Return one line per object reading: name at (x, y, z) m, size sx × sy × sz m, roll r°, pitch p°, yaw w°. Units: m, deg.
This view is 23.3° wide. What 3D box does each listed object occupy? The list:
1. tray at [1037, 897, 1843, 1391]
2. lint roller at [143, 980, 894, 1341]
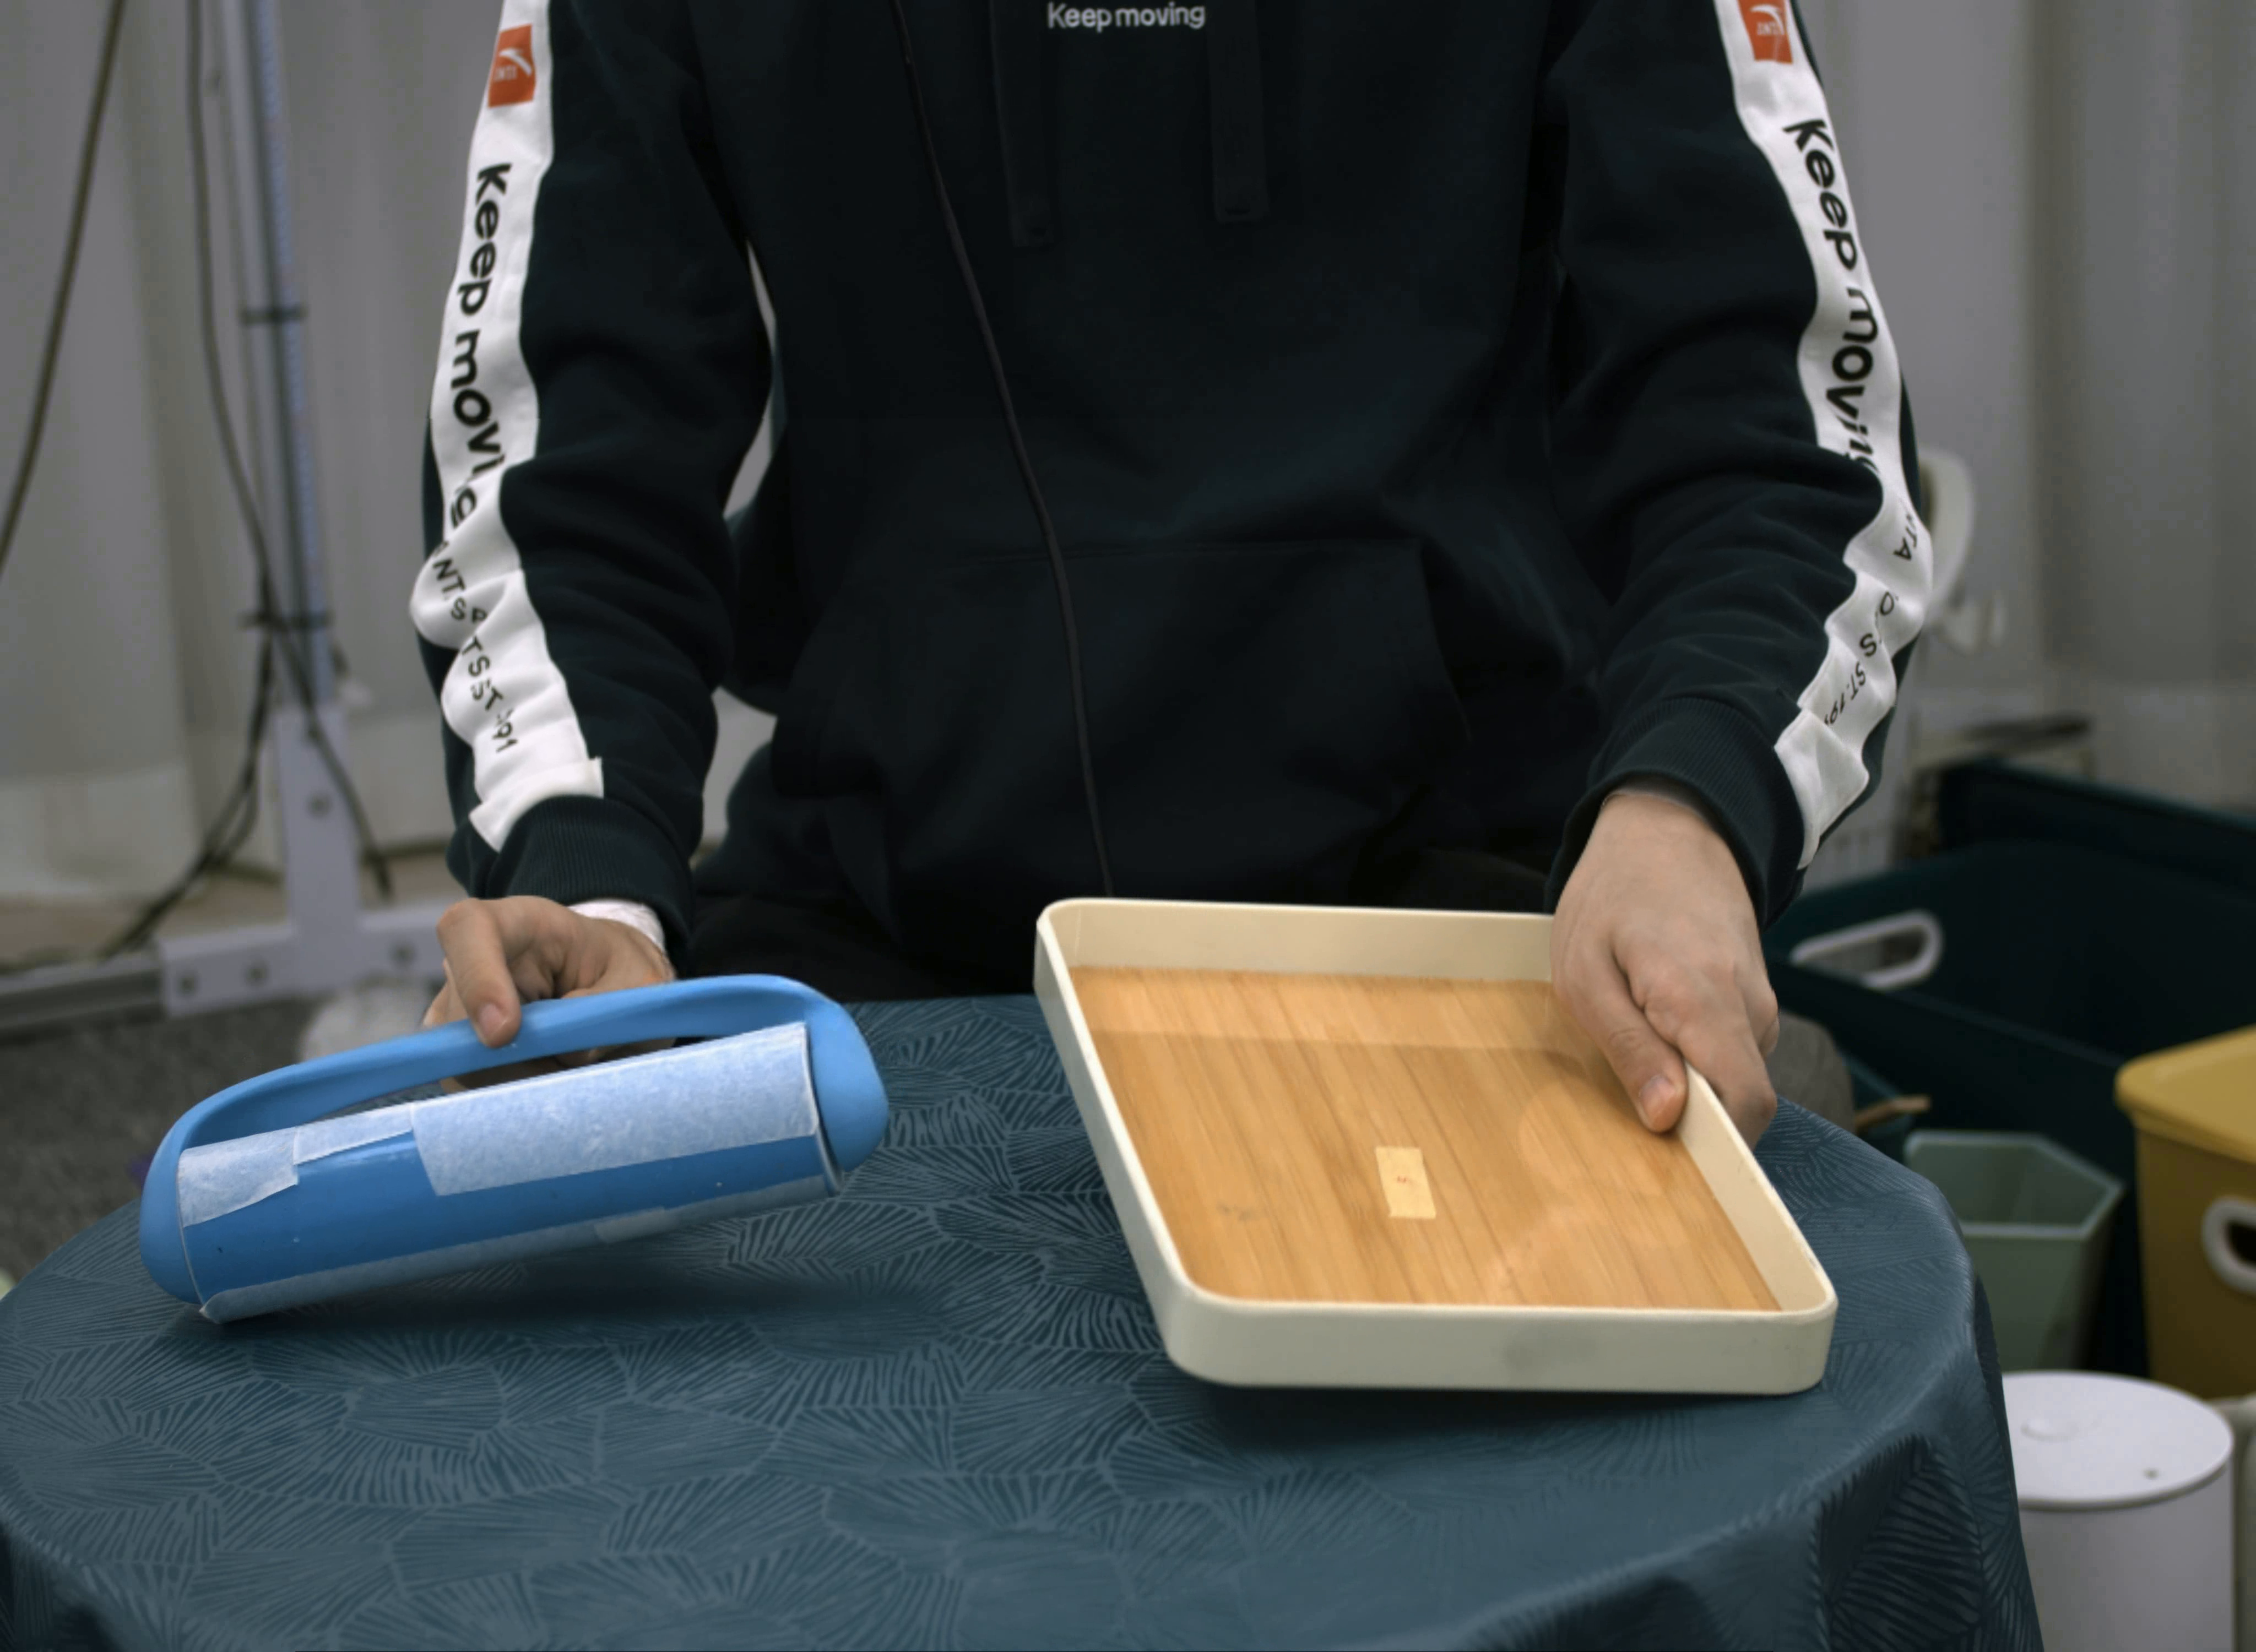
tray at (0.084, 0.090, 1.632) m, size 0.190 × 0.027 × 0.303 m, roll 2°, pitch 20°, yaw -10°
lint roller at (-0.186, 0.090, 1.686) m, size 0.228 × 0.067 × 0.181 m, roll -15°, pitch 15°, yaw 0°
